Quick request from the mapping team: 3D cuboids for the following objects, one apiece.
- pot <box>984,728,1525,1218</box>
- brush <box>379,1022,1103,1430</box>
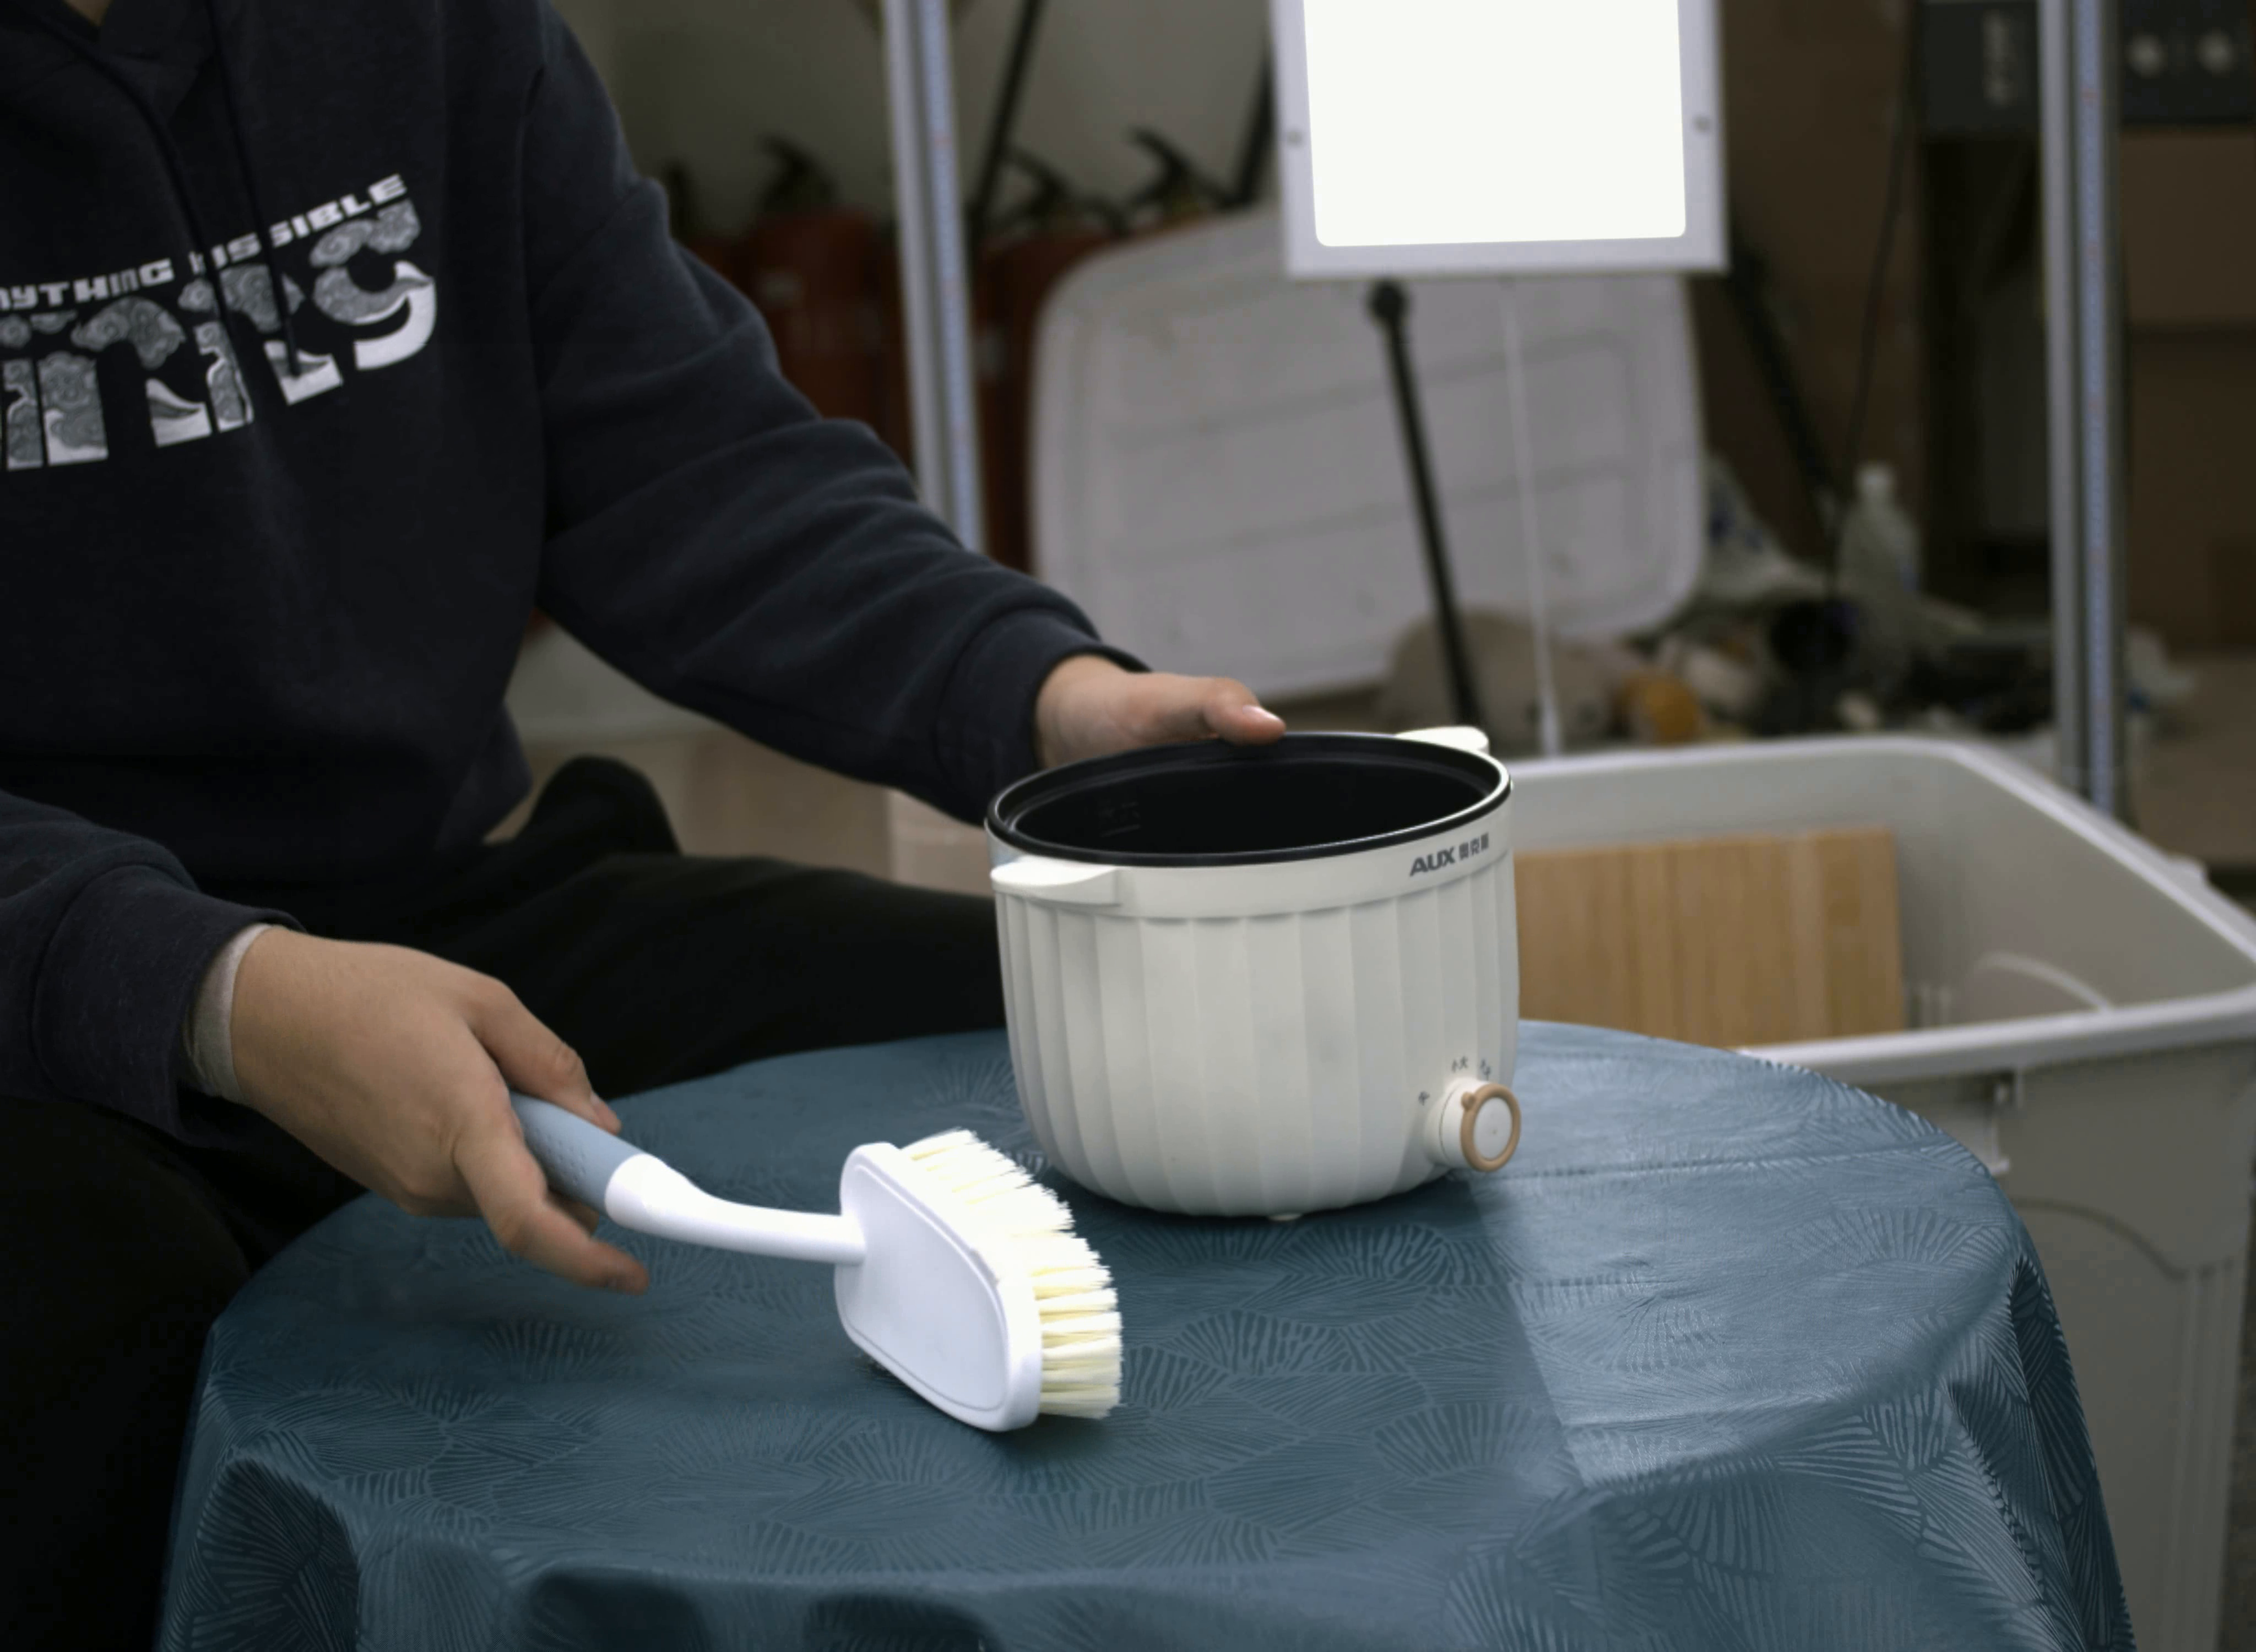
[{"bbox_3d":[0.051,0.052,1.892,0.195,0.143,0.234,4,17,44],"label":"pot"},{"bbox_3d":[-0.114,0.112,1.765,0.332,0.083,0.083,23,-10,44],"label":"brush"}]
